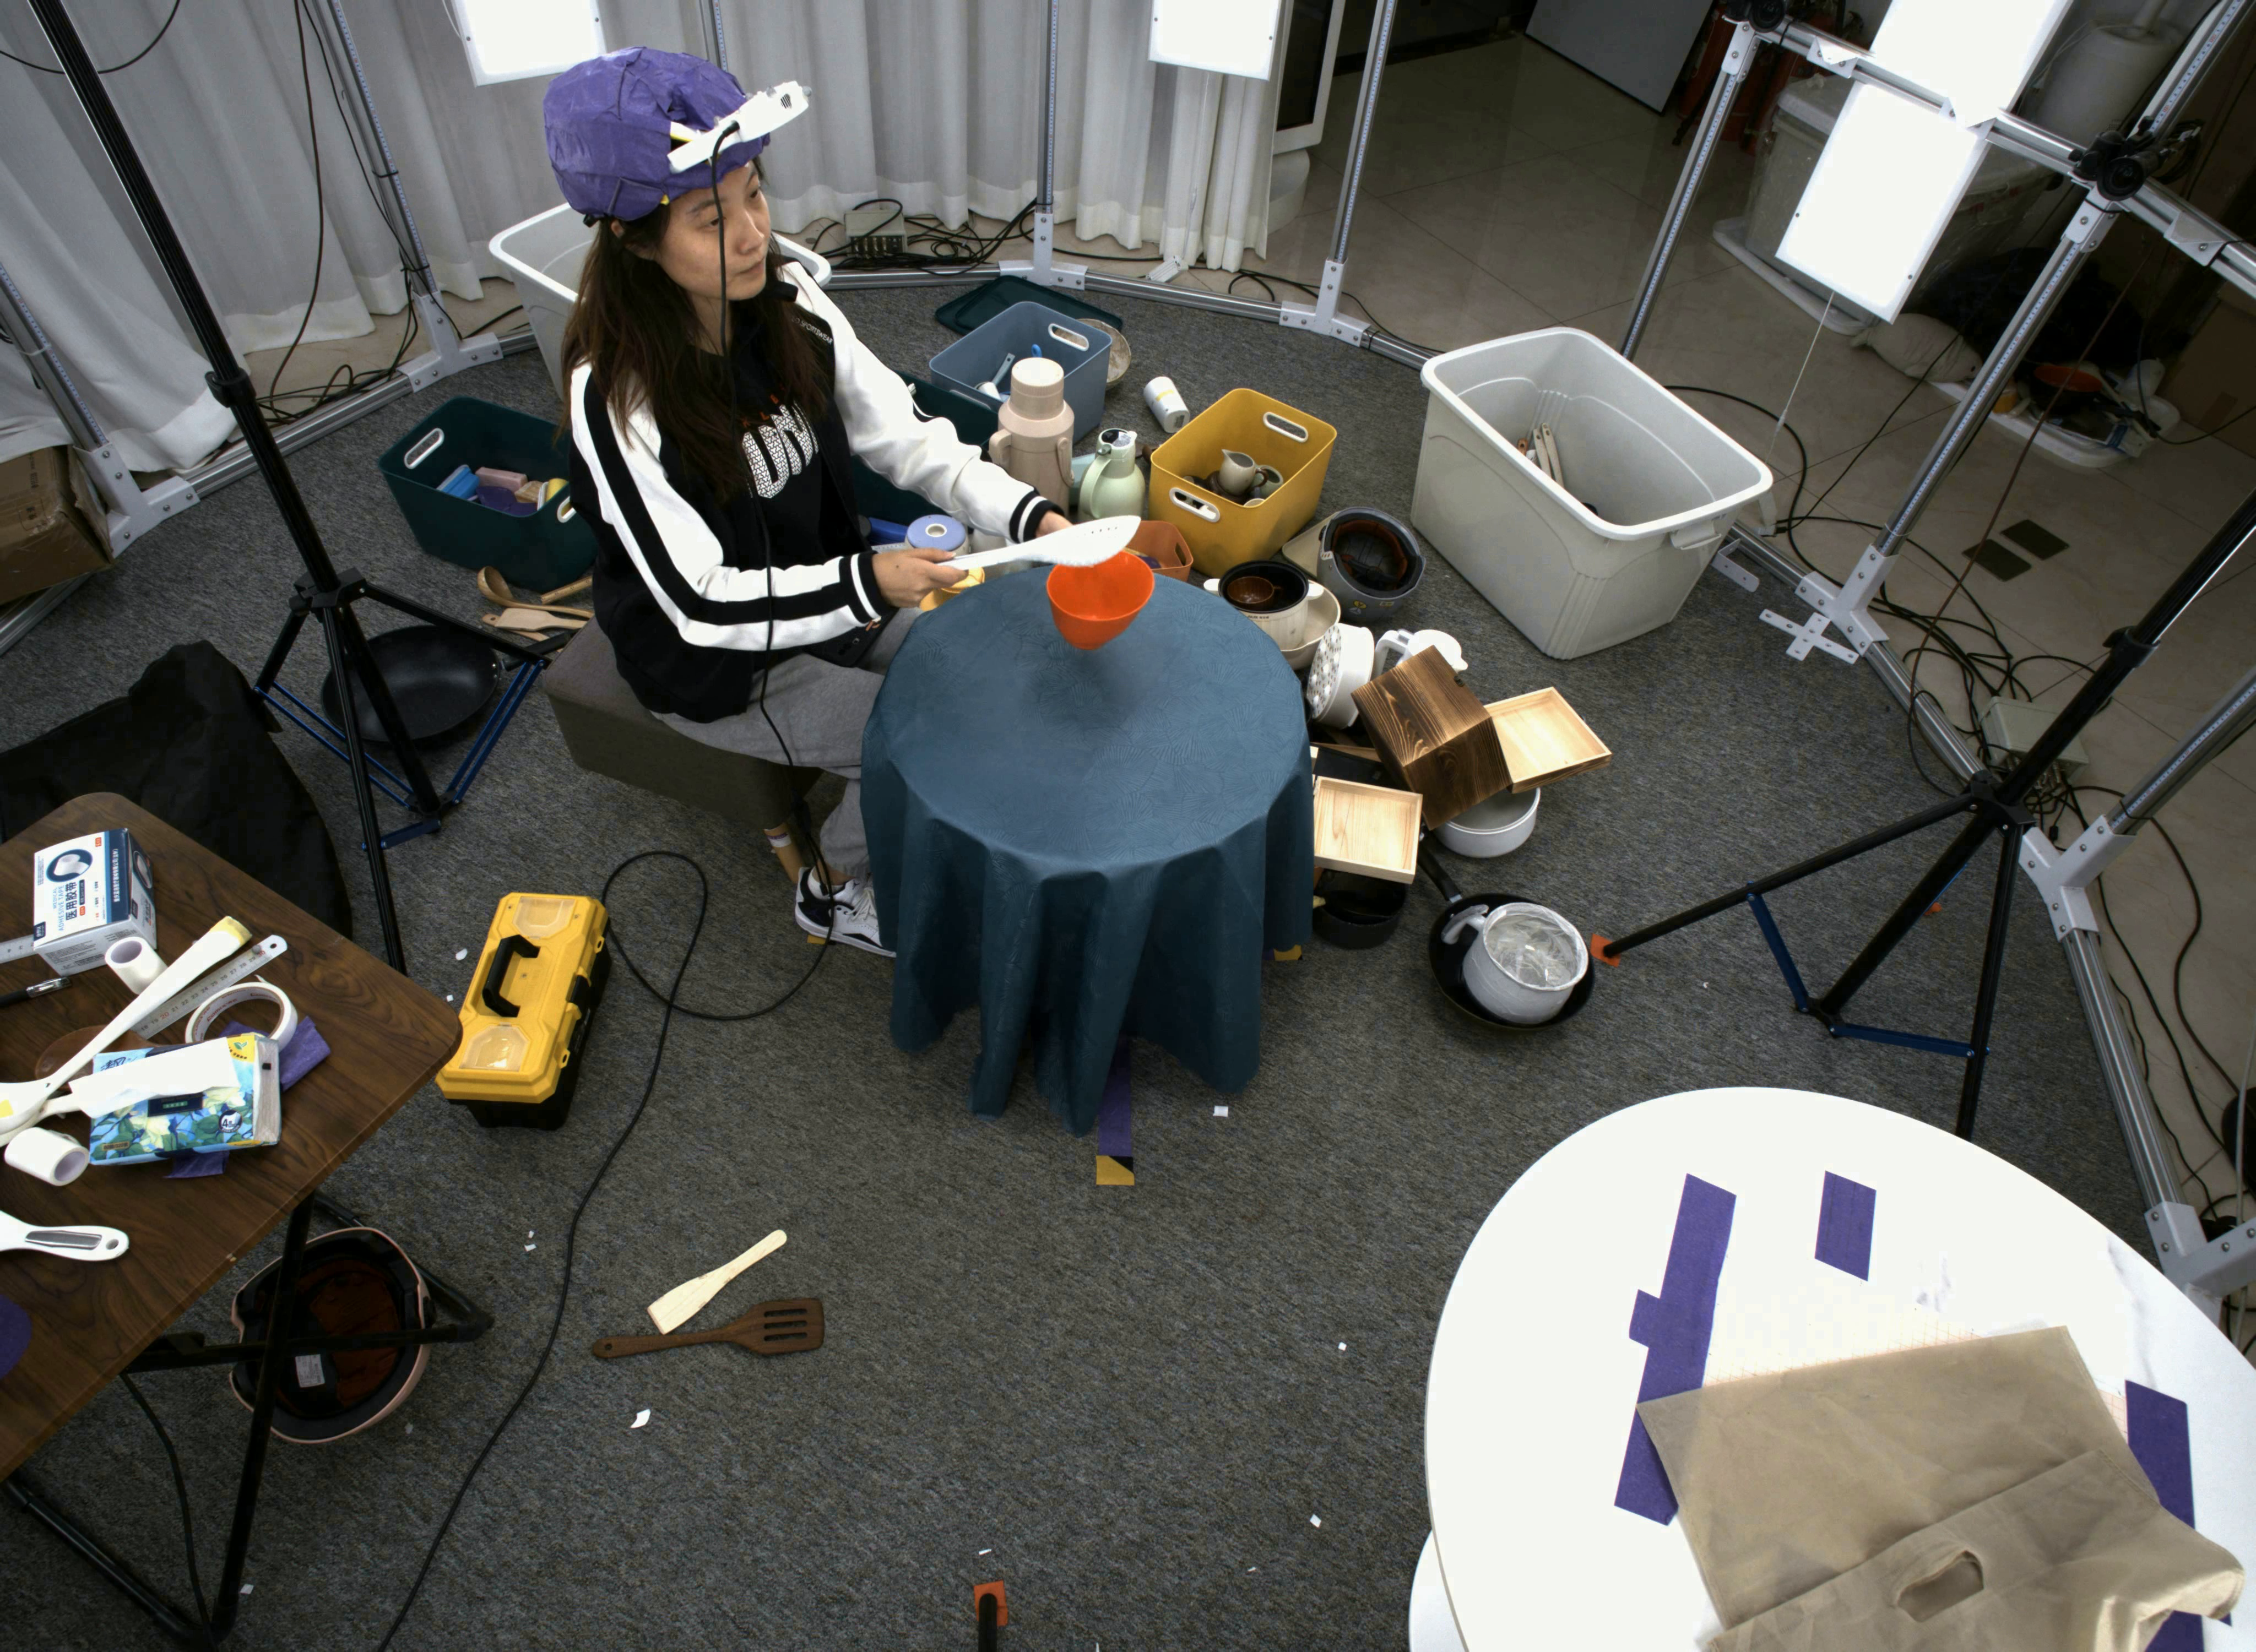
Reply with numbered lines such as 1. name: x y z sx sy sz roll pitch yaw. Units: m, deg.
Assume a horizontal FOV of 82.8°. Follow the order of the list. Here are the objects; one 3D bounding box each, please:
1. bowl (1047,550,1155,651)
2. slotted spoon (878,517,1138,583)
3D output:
1. bowl: -0.043 -0.306 1.804 0.148 0.102 0.152 4 50 -6
2. slotted spoon: -0.153 -0.338 1.606 0.350 0.045 0.138 -1 27 17
